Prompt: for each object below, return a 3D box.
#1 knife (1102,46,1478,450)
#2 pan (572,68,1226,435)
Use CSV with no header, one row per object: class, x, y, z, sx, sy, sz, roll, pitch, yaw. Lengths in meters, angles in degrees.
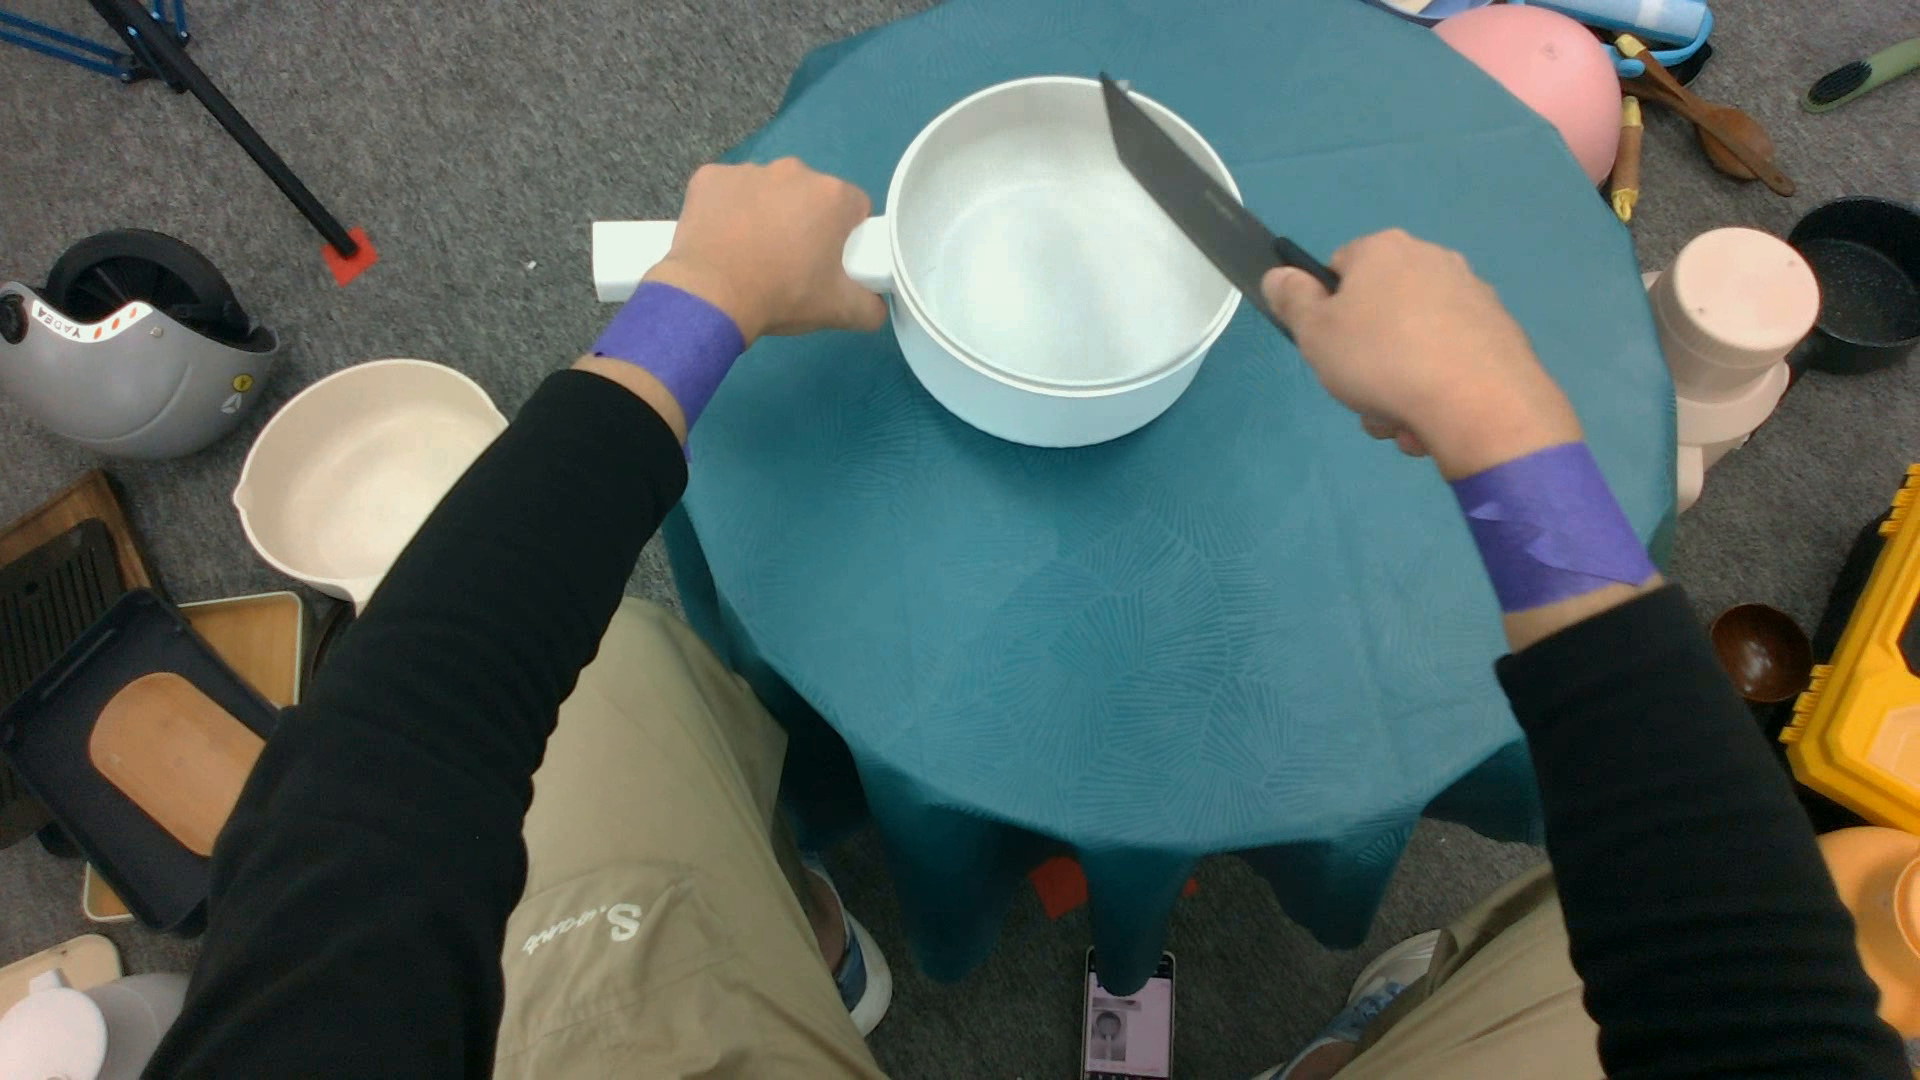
knife,0.141,-0.141,0.649,0.021,0.080,0.303,-28,48,-5
pan,-0.033,-0.155,0.787,0.355,0.102,0.202,-4,70,-6
